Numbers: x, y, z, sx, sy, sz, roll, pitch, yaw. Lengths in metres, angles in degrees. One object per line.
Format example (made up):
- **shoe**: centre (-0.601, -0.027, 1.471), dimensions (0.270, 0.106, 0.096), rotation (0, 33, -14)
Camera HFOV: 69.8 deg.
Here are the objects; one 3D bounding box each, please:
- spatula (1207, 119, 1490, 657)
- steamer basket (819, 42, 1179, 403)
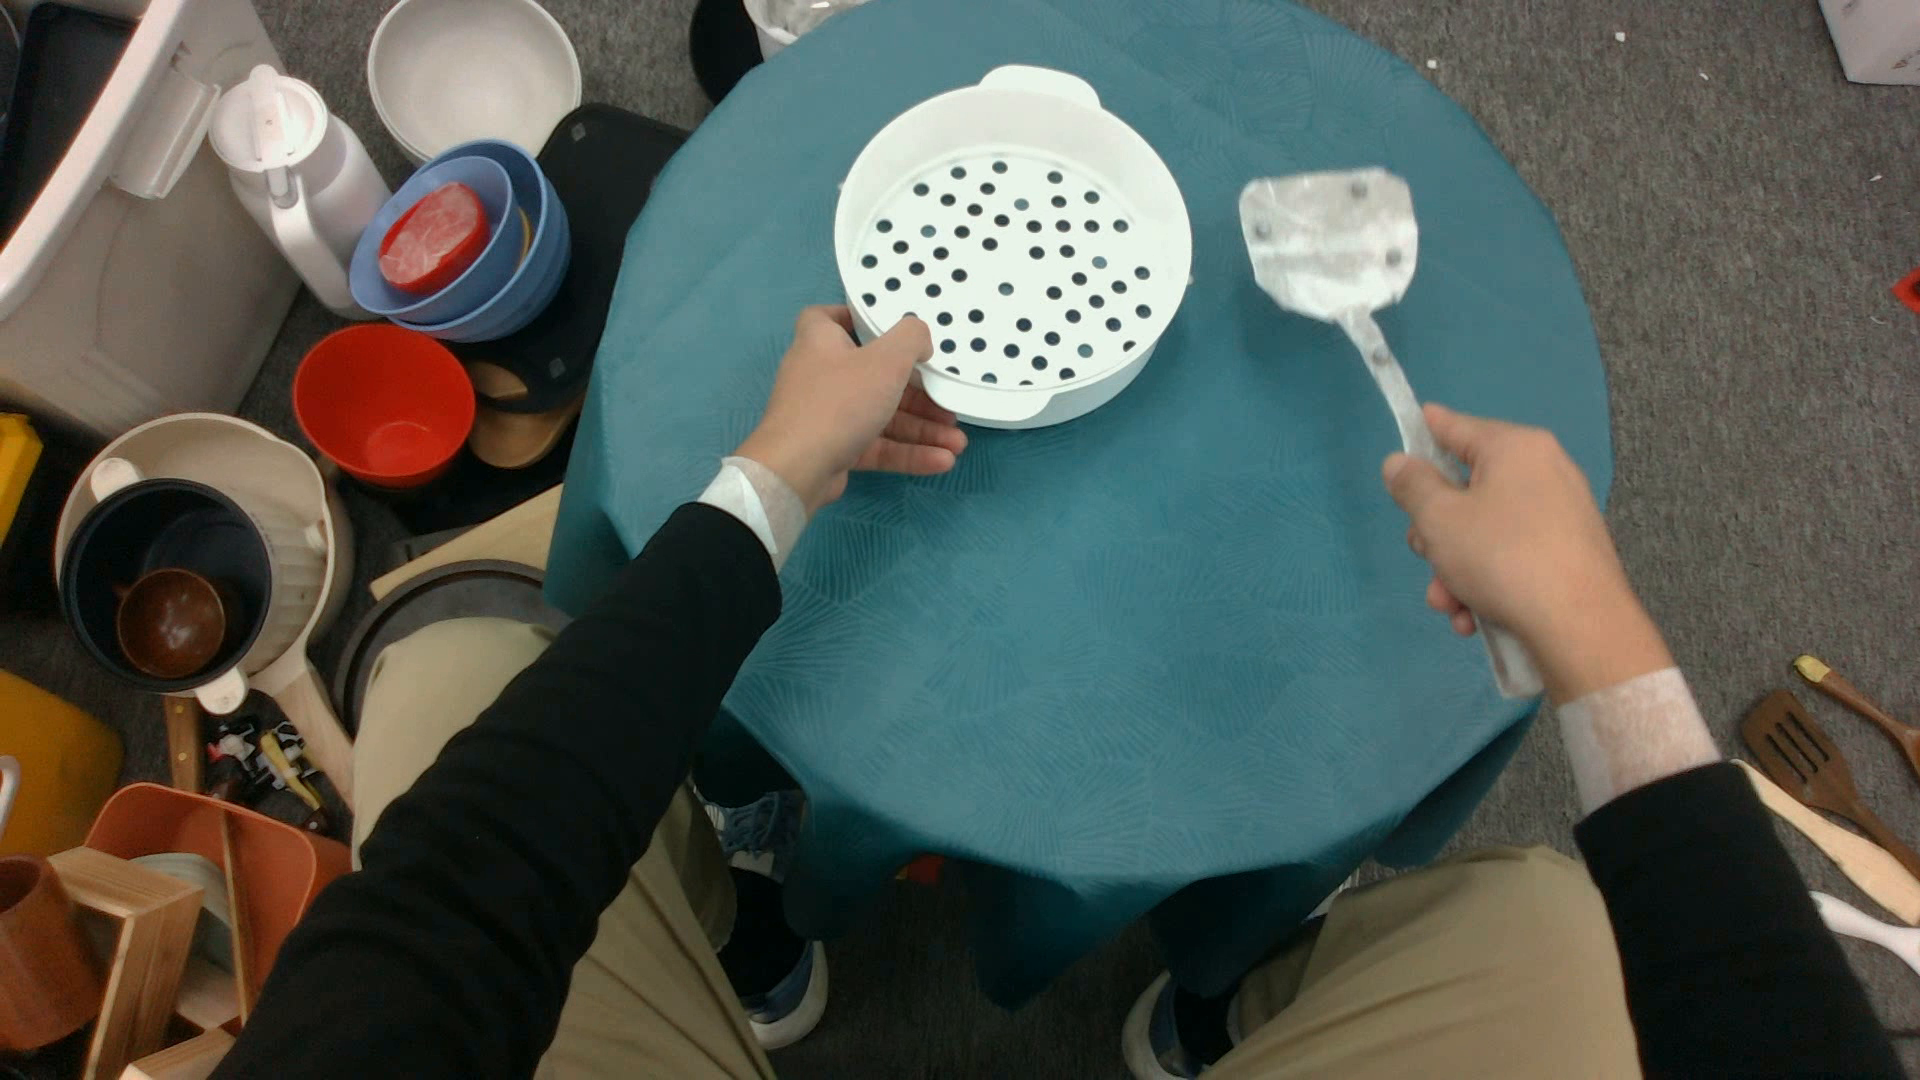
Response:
- **spatula**: centre (0.198, -0.096, 0.672), dimensions (0.099, 0.044, 0.366), rotation (-5, 45, 0)
- **steamer basket**: centre (0.021, -0.176, 0.798), dimensions (0.202, 0.069, 0.231), rotation (10, 69, 1)
